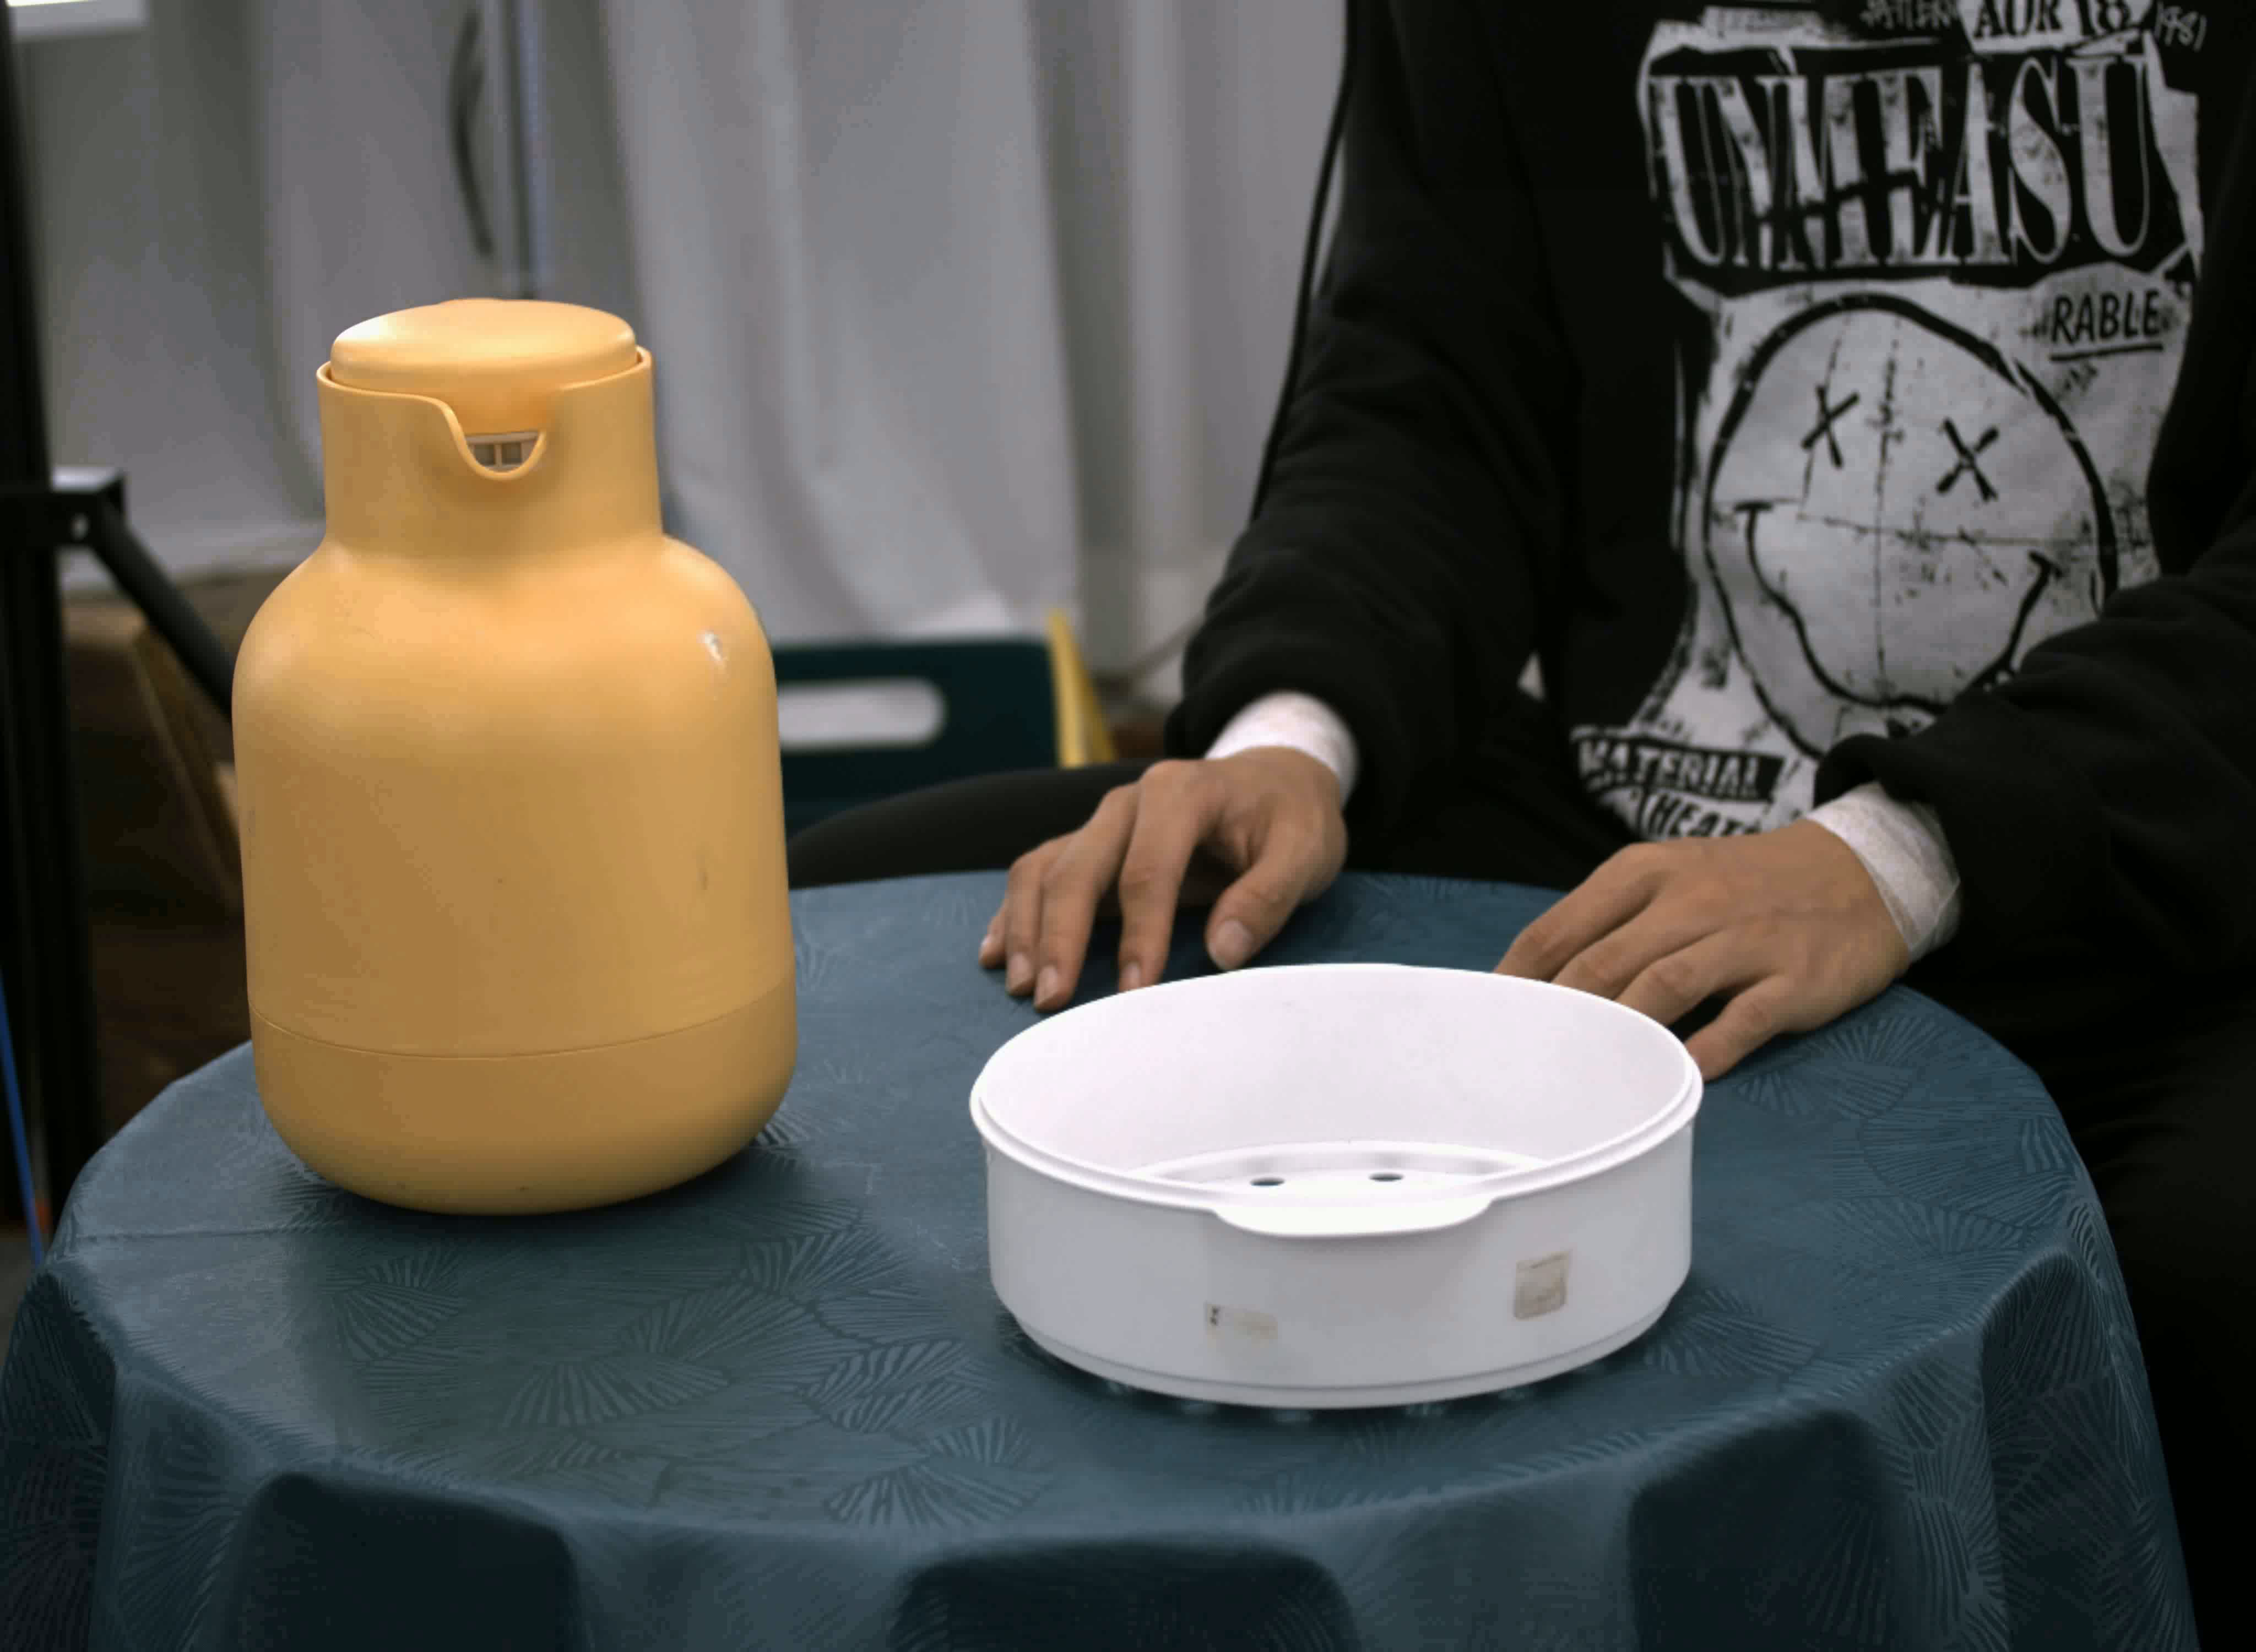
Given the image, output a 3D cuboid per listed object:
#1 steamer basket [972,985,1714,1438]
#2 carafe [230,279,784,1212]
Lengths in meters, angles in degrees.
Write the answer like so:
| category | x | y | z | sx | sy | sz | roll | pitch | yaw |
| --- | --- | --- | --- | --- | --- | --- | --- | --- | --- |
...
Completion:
| category | x | y | z | sx | sy | sz | roll | pitch | yaw |
| --- | --- | --- | --- | --- | --- | --- | --- | --- | --- |
| steamer basket | 0.060 | 0.104 | 1.447 | 0.201 | 0.069 | 0.231 | -3 | 16 | 1 |
| carafe | -0.185 | -0.032 | 1.599 | 0.162 | 0.260 | 0.204 | -1 | 17 | -6 |
